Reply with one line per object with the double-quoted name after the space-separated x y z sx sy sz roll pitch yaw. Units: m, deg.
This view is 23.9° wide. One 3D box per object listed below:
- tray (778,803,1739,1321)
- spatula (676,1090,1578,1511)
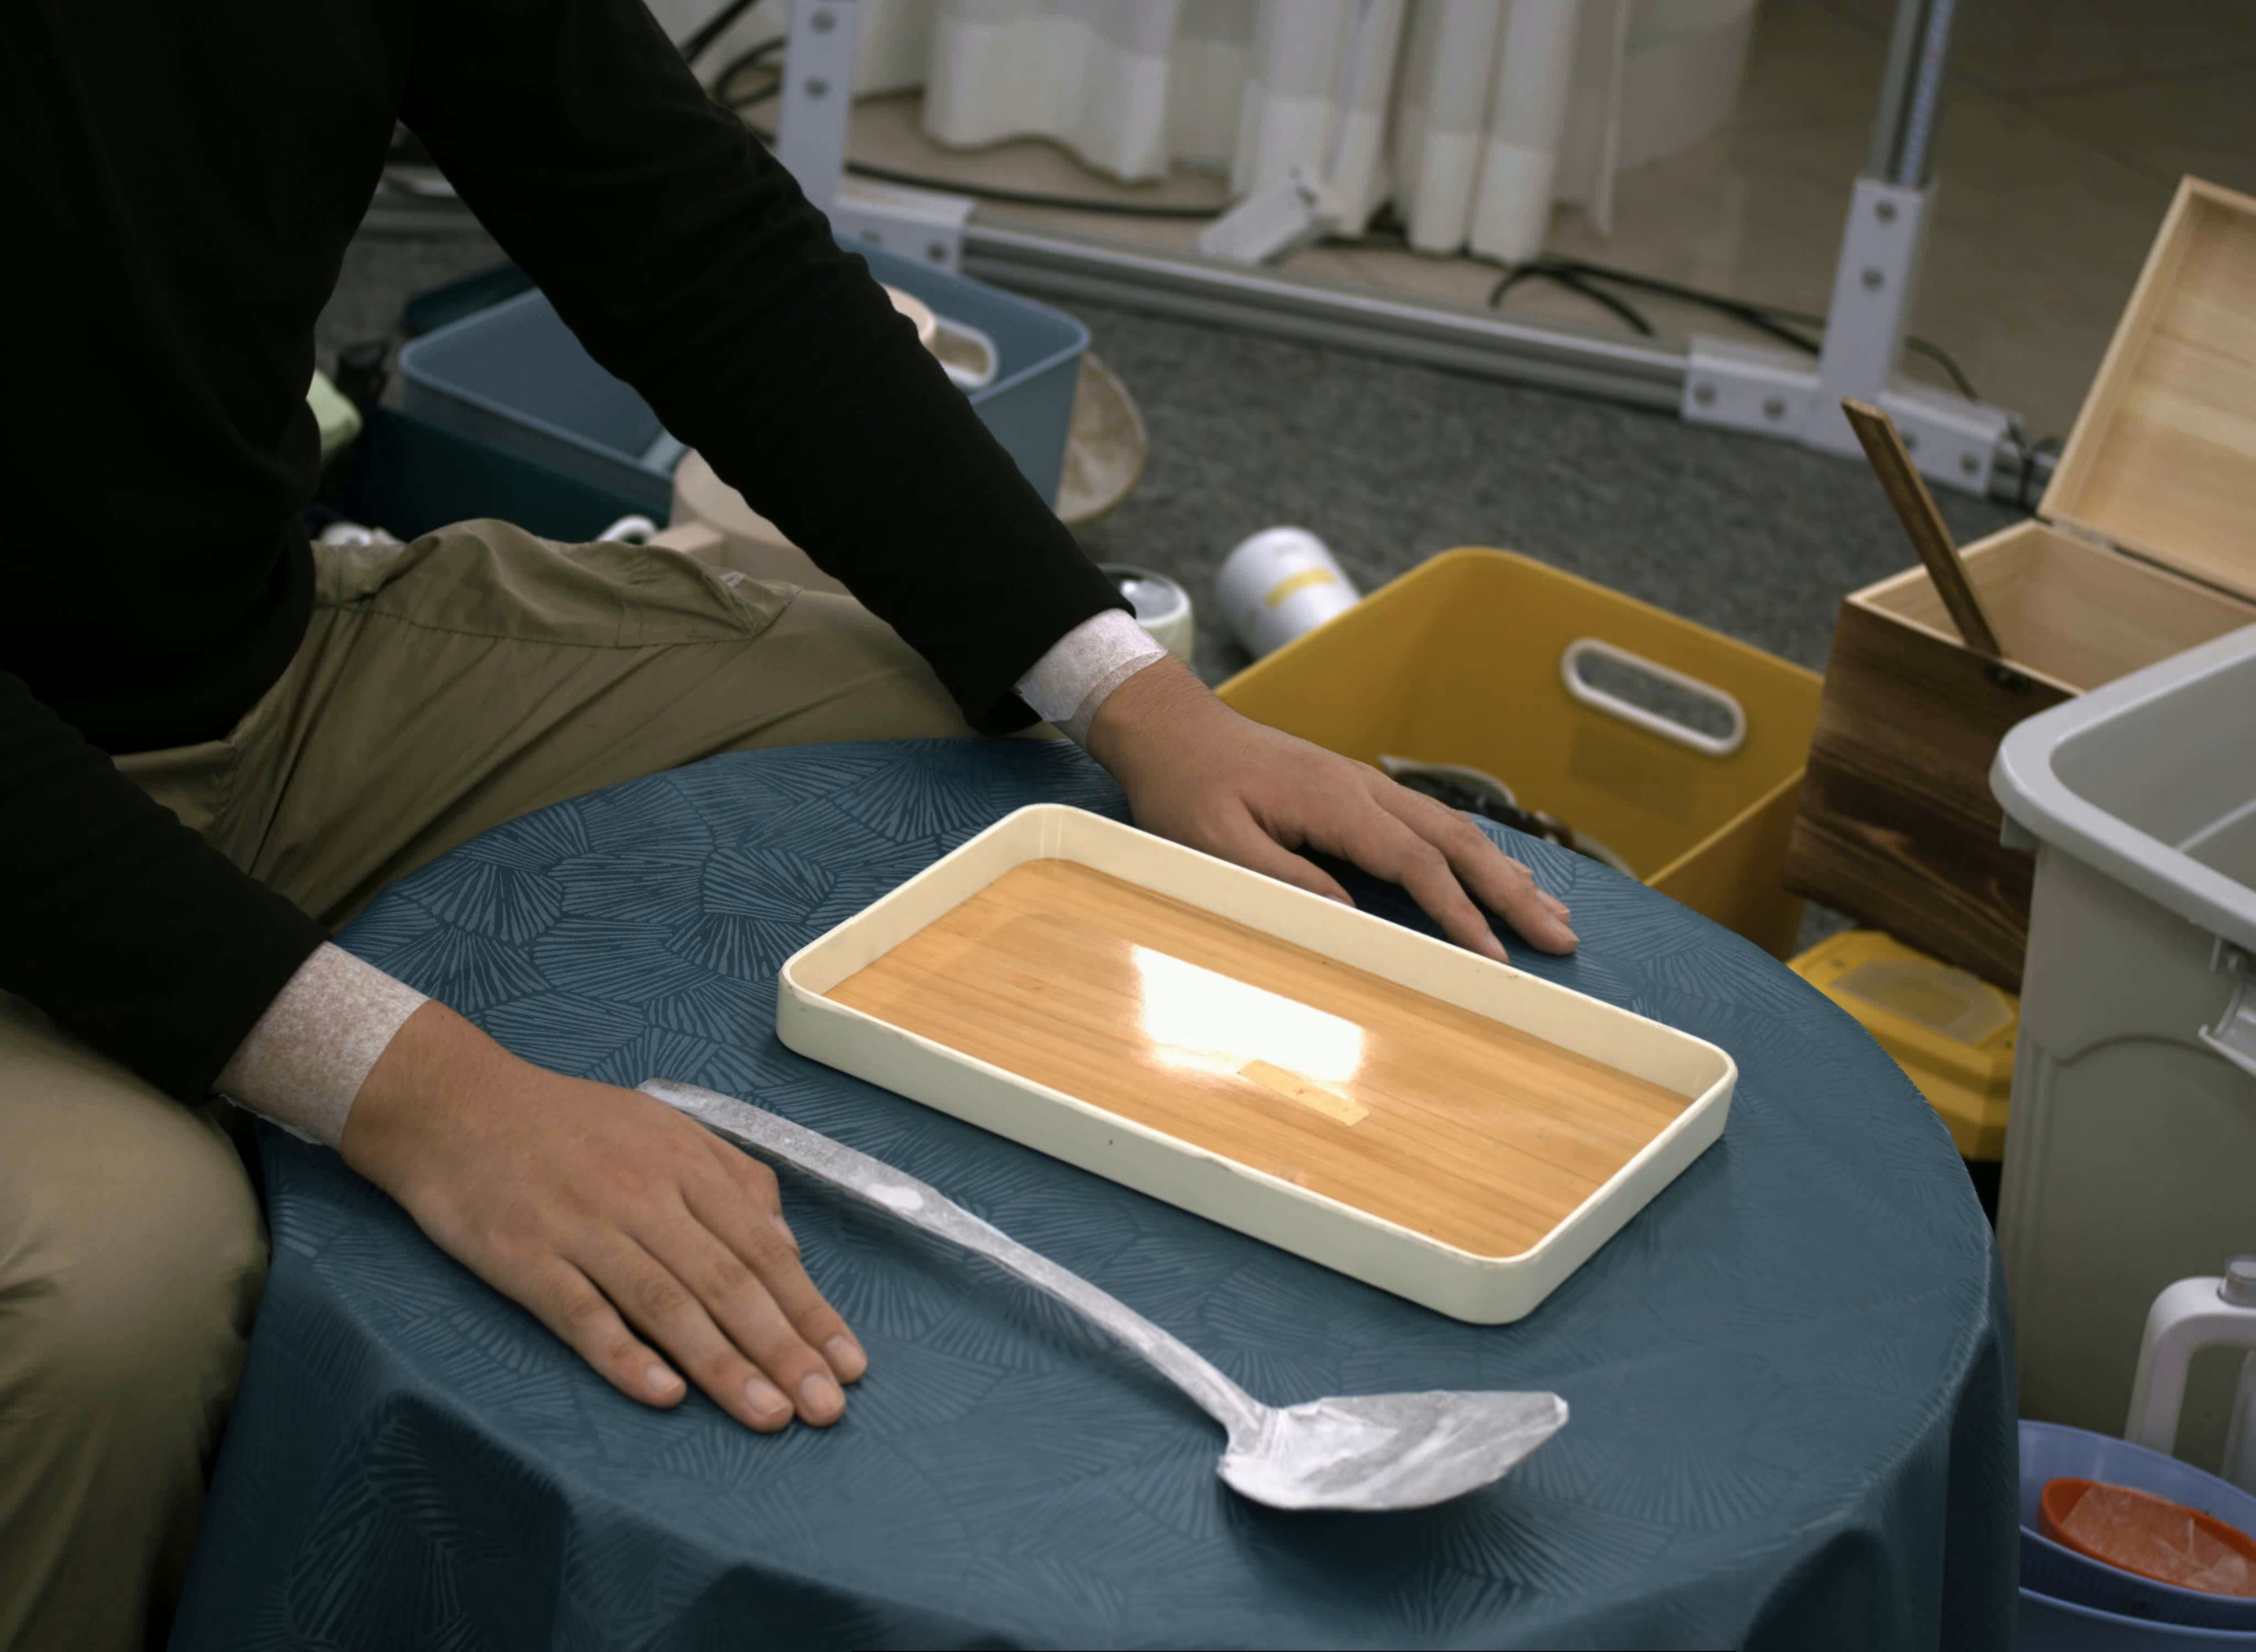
0.045 0.078 1.871 0.302 0.027 0.191 20 30 26 "tray"
-0.021 0.144 1.715 0.367 0.044 0.098 26 33 33 "spatula"
